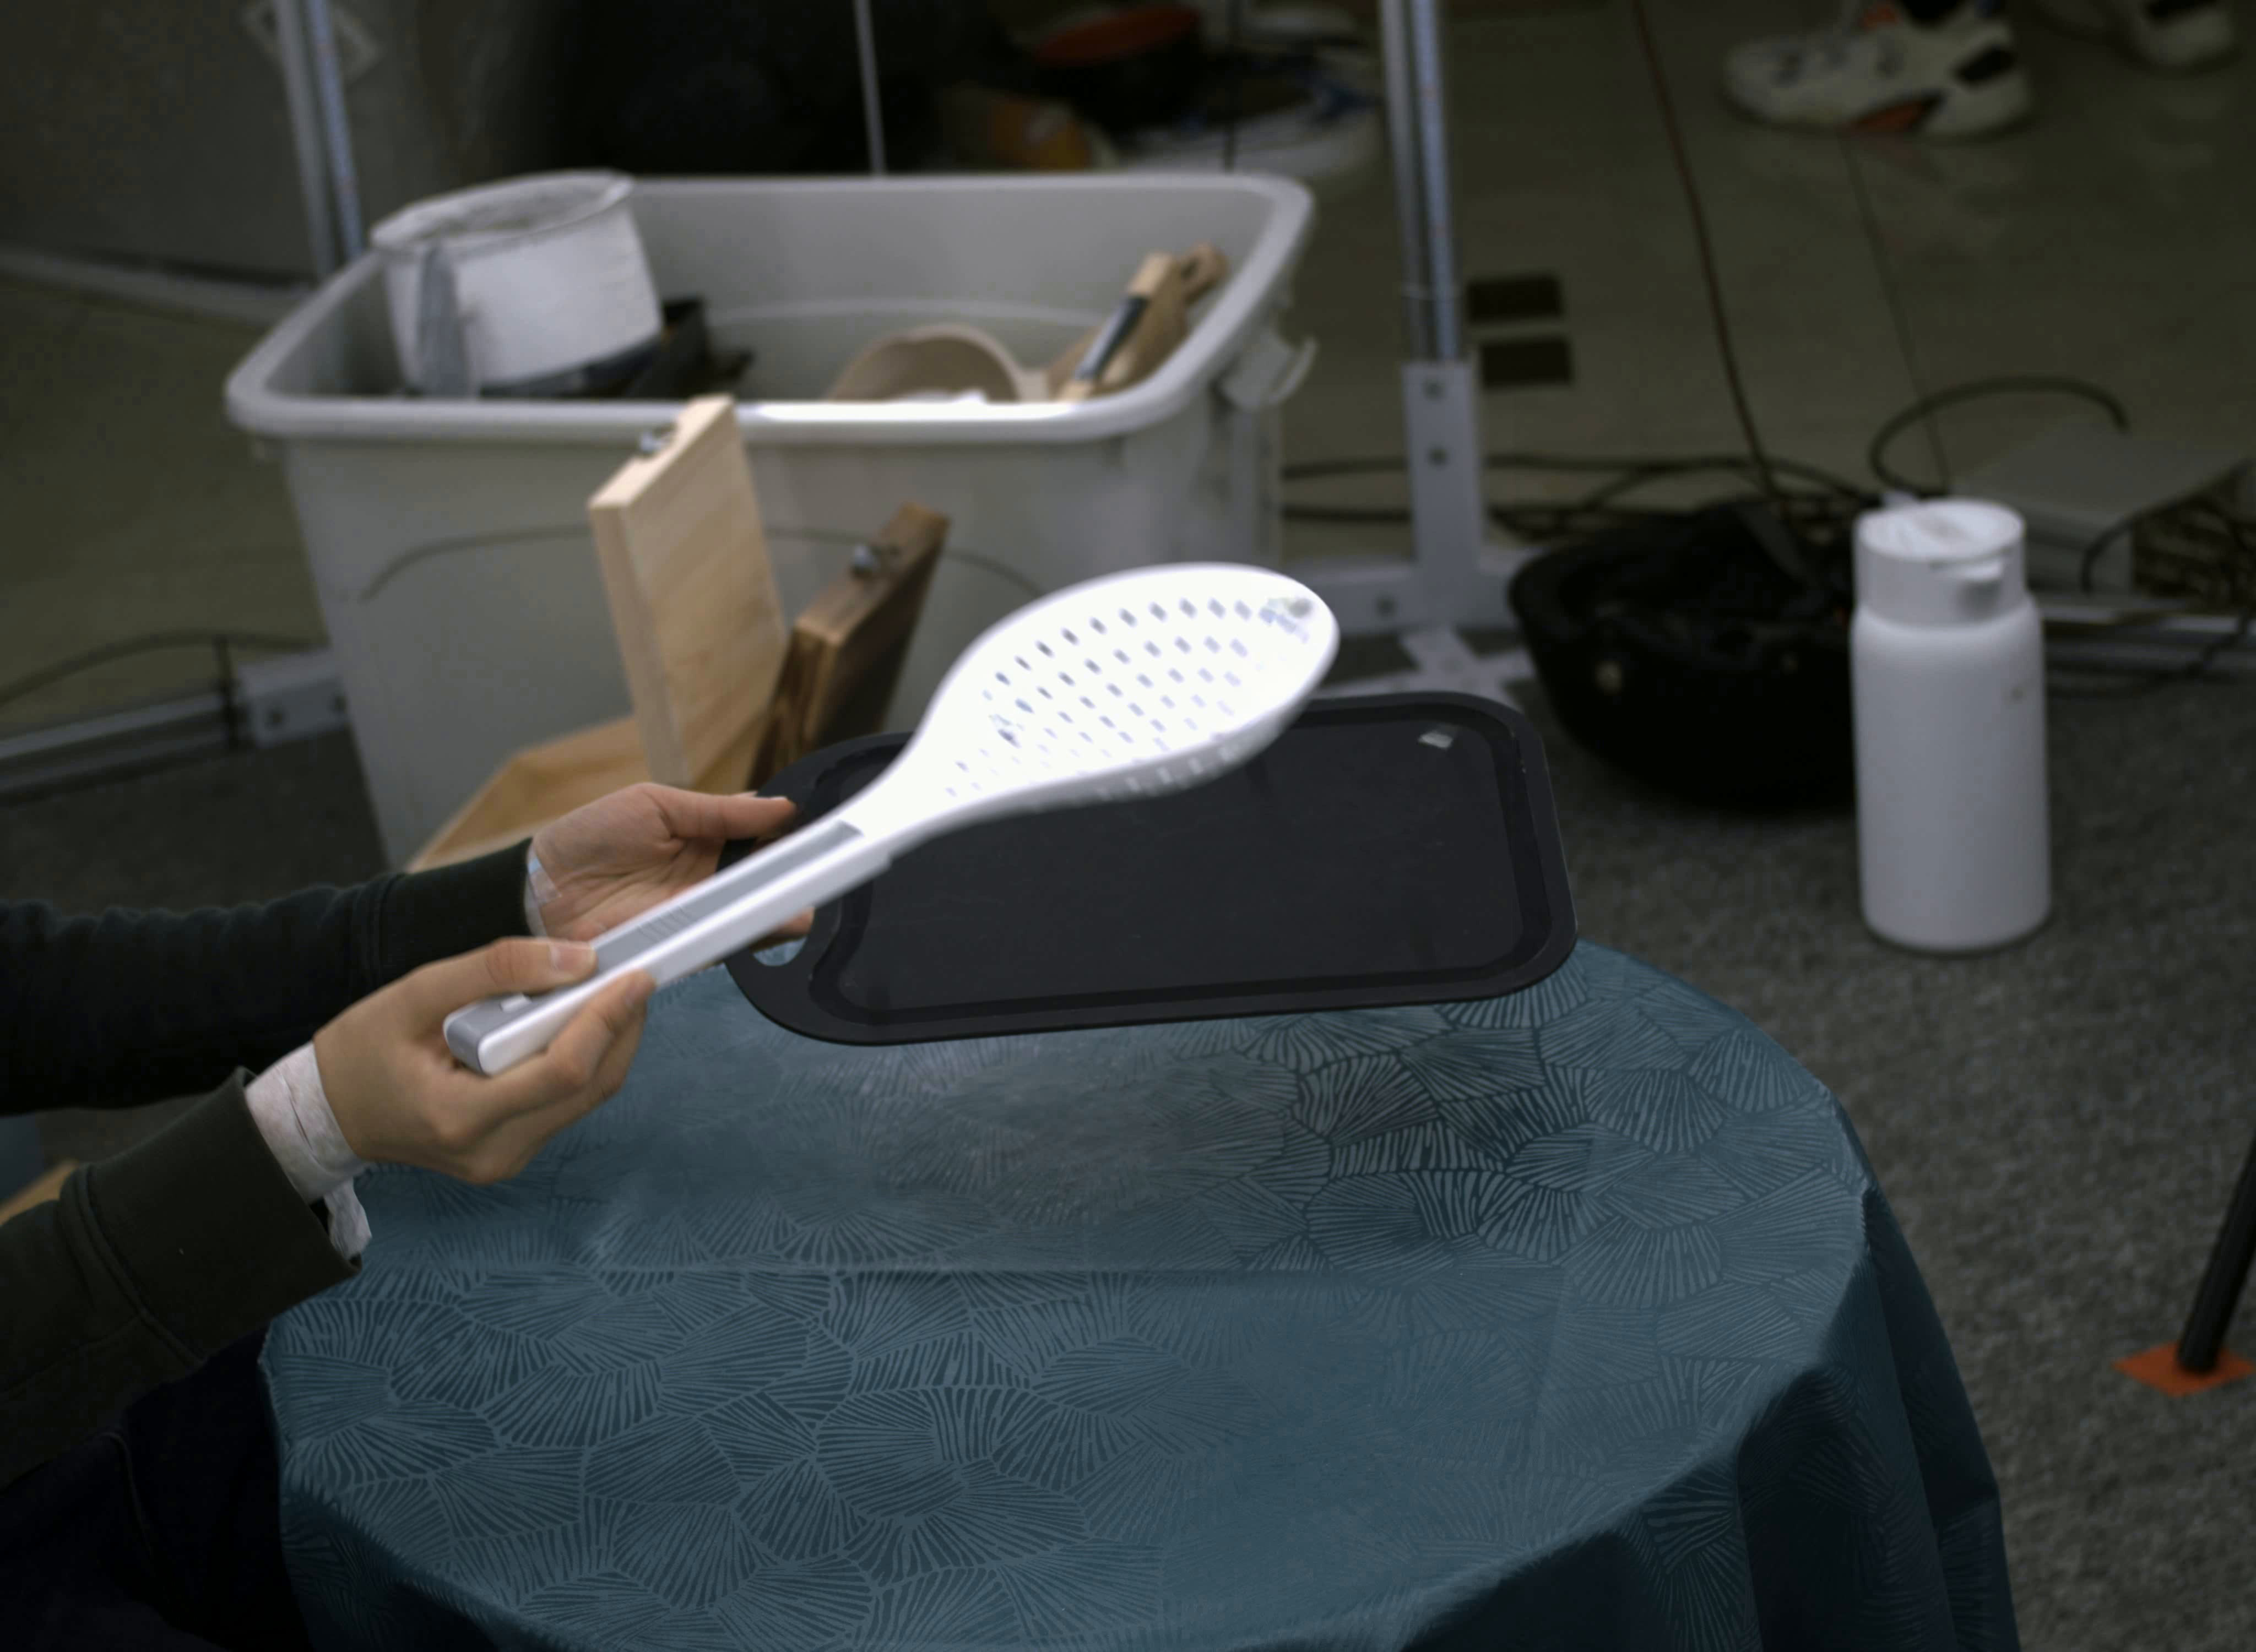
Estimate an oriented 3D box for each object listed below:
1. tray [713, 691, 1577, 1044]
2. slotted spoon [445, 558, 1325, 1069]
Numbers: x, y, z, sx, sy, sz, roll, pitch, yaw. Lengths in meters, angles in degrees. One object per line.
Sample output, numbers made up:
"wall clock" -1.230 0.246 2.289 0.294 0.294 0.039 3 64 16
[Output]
"tray" 0.003 0.013 2.155 0.325 0.010 0.207 -4 34 1
"slotted spoon" -0.080 -0.006 1.905 0.347 0.046 0.135 -26 30 -30
